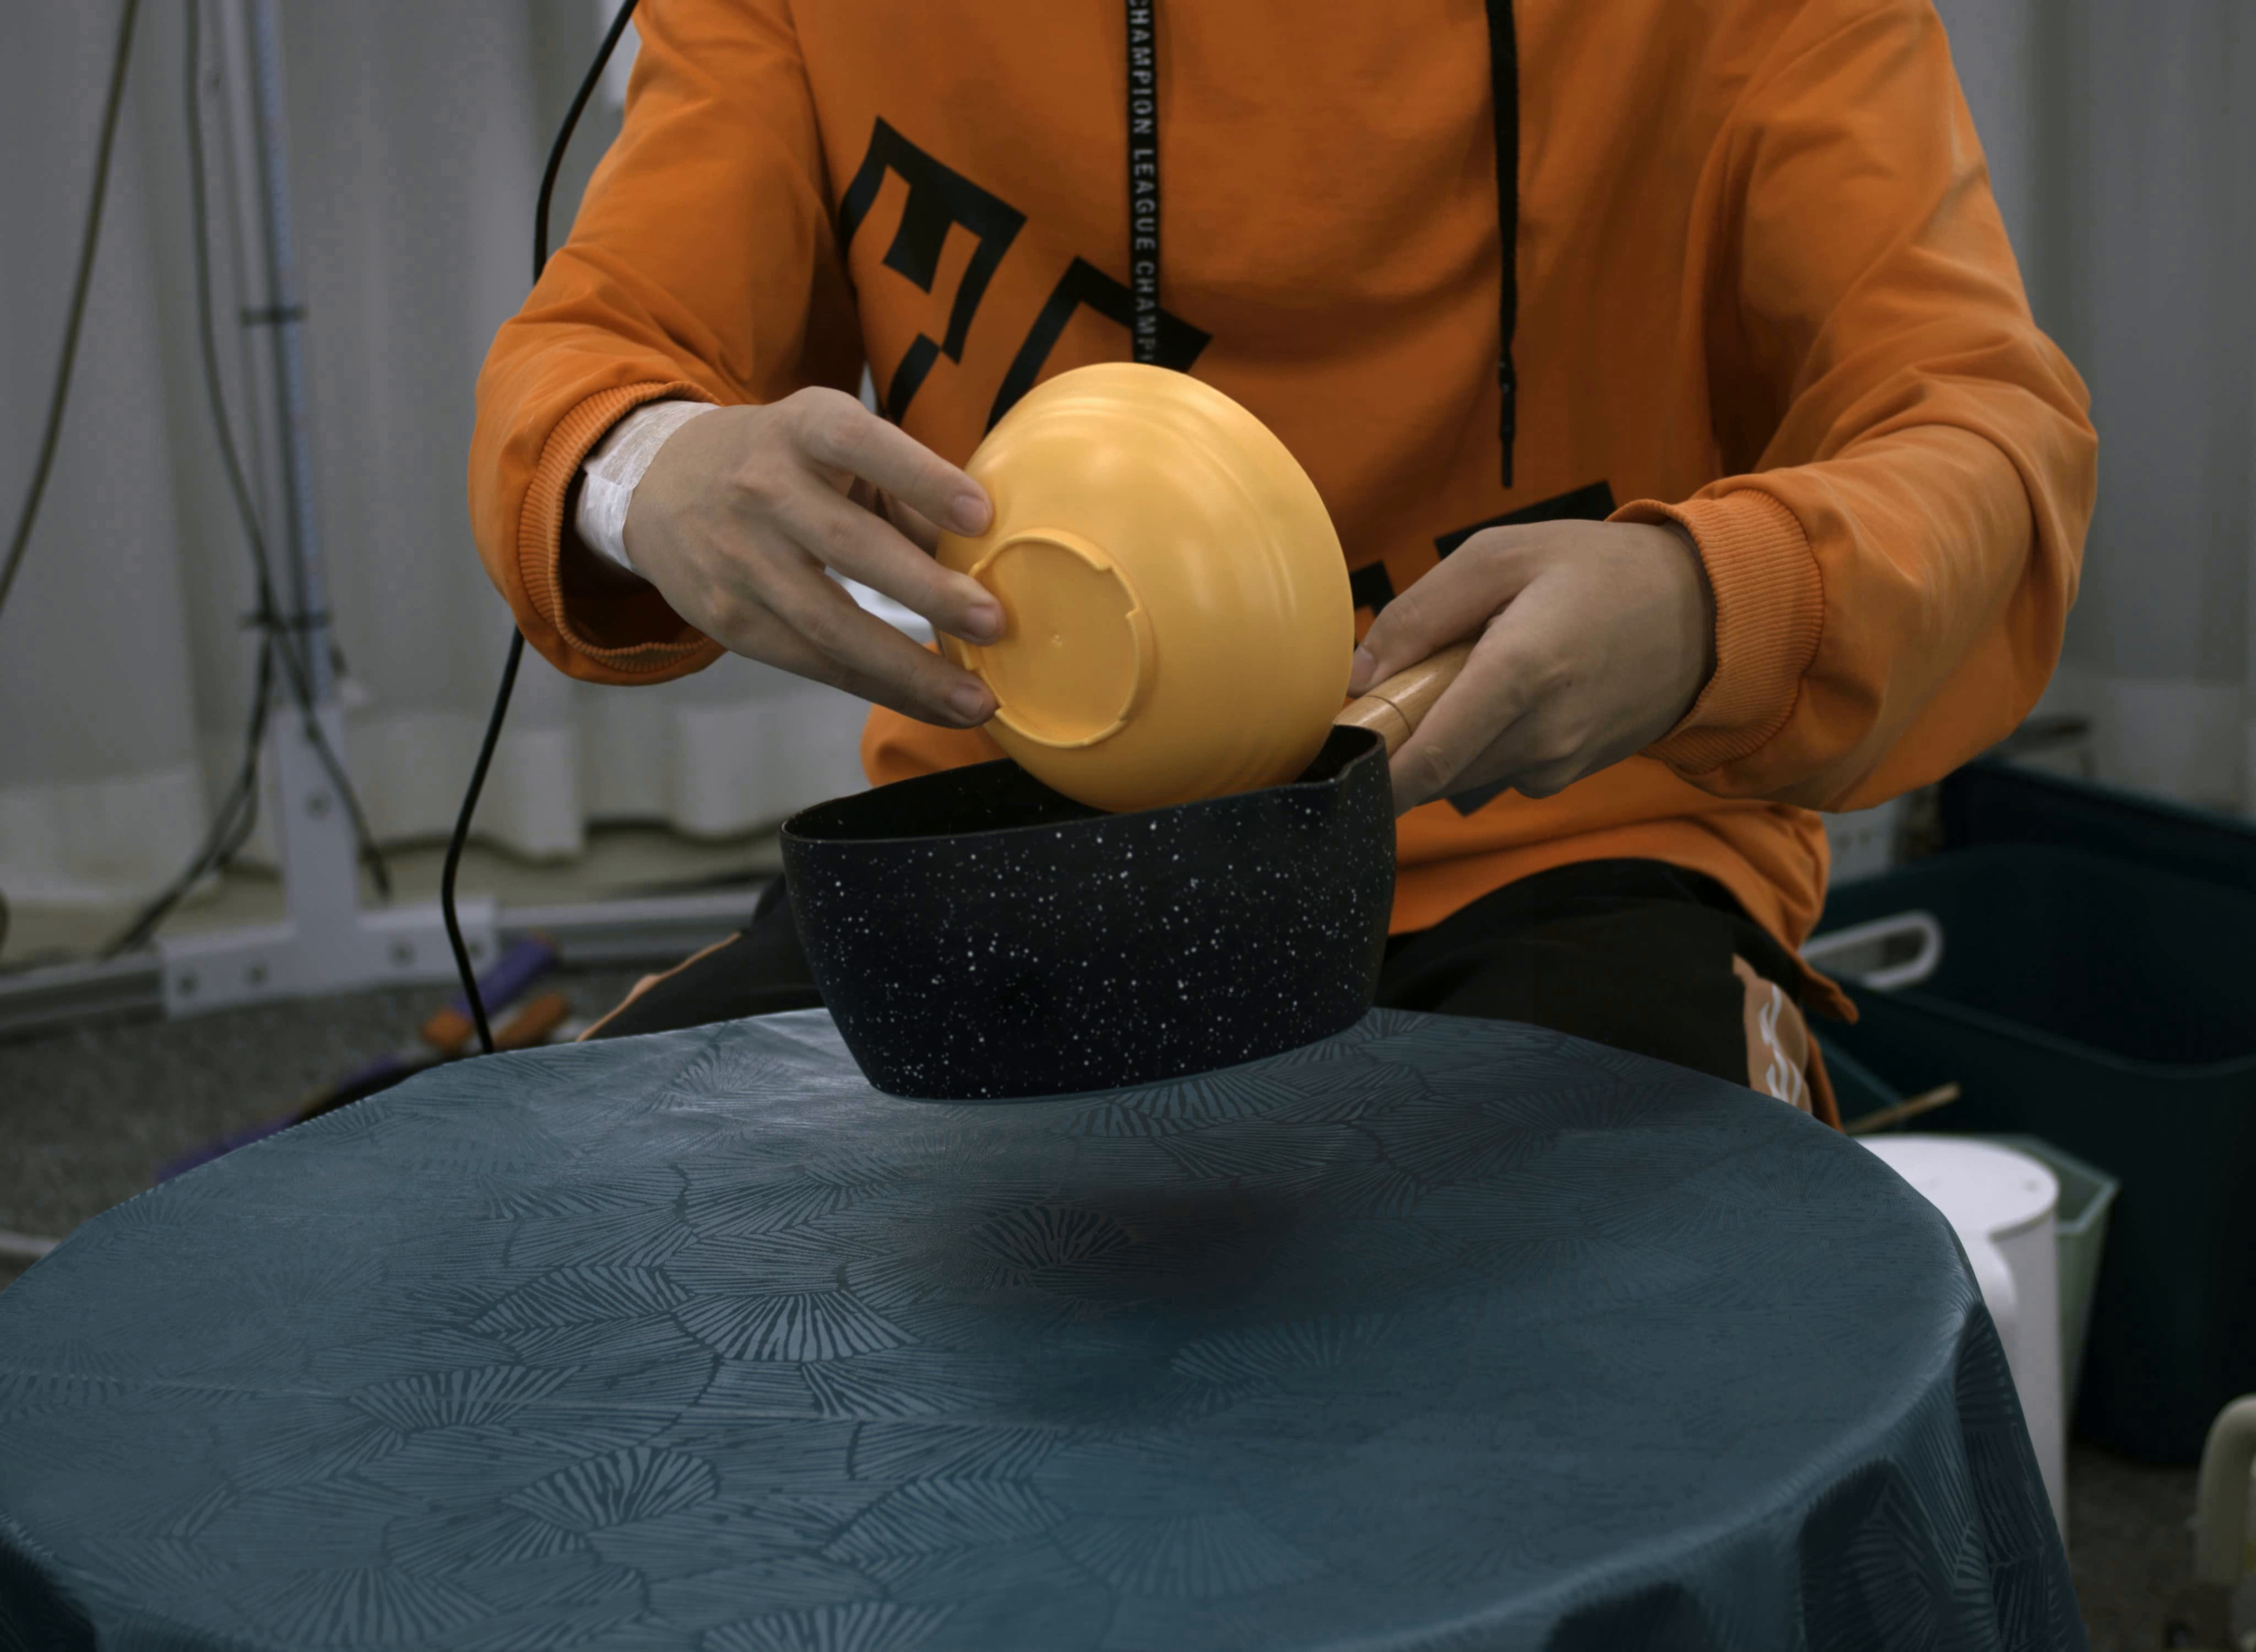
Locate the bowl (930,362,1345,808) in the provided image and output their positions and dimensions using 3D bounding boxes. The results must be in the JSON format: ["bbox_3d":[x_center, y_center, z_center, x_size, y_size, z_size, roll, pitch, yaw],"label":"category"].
[{"bbox_3d":[-0.010,-0.063,1.648,0.146,0.145,0.060,8,18,34],"label":"bowl"}]

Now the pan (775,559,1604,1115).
[{"bbox_3d":[0.042,0.000,1.696,0.208,0.108,0.342,-4,10,42],"label":"pan"}]
